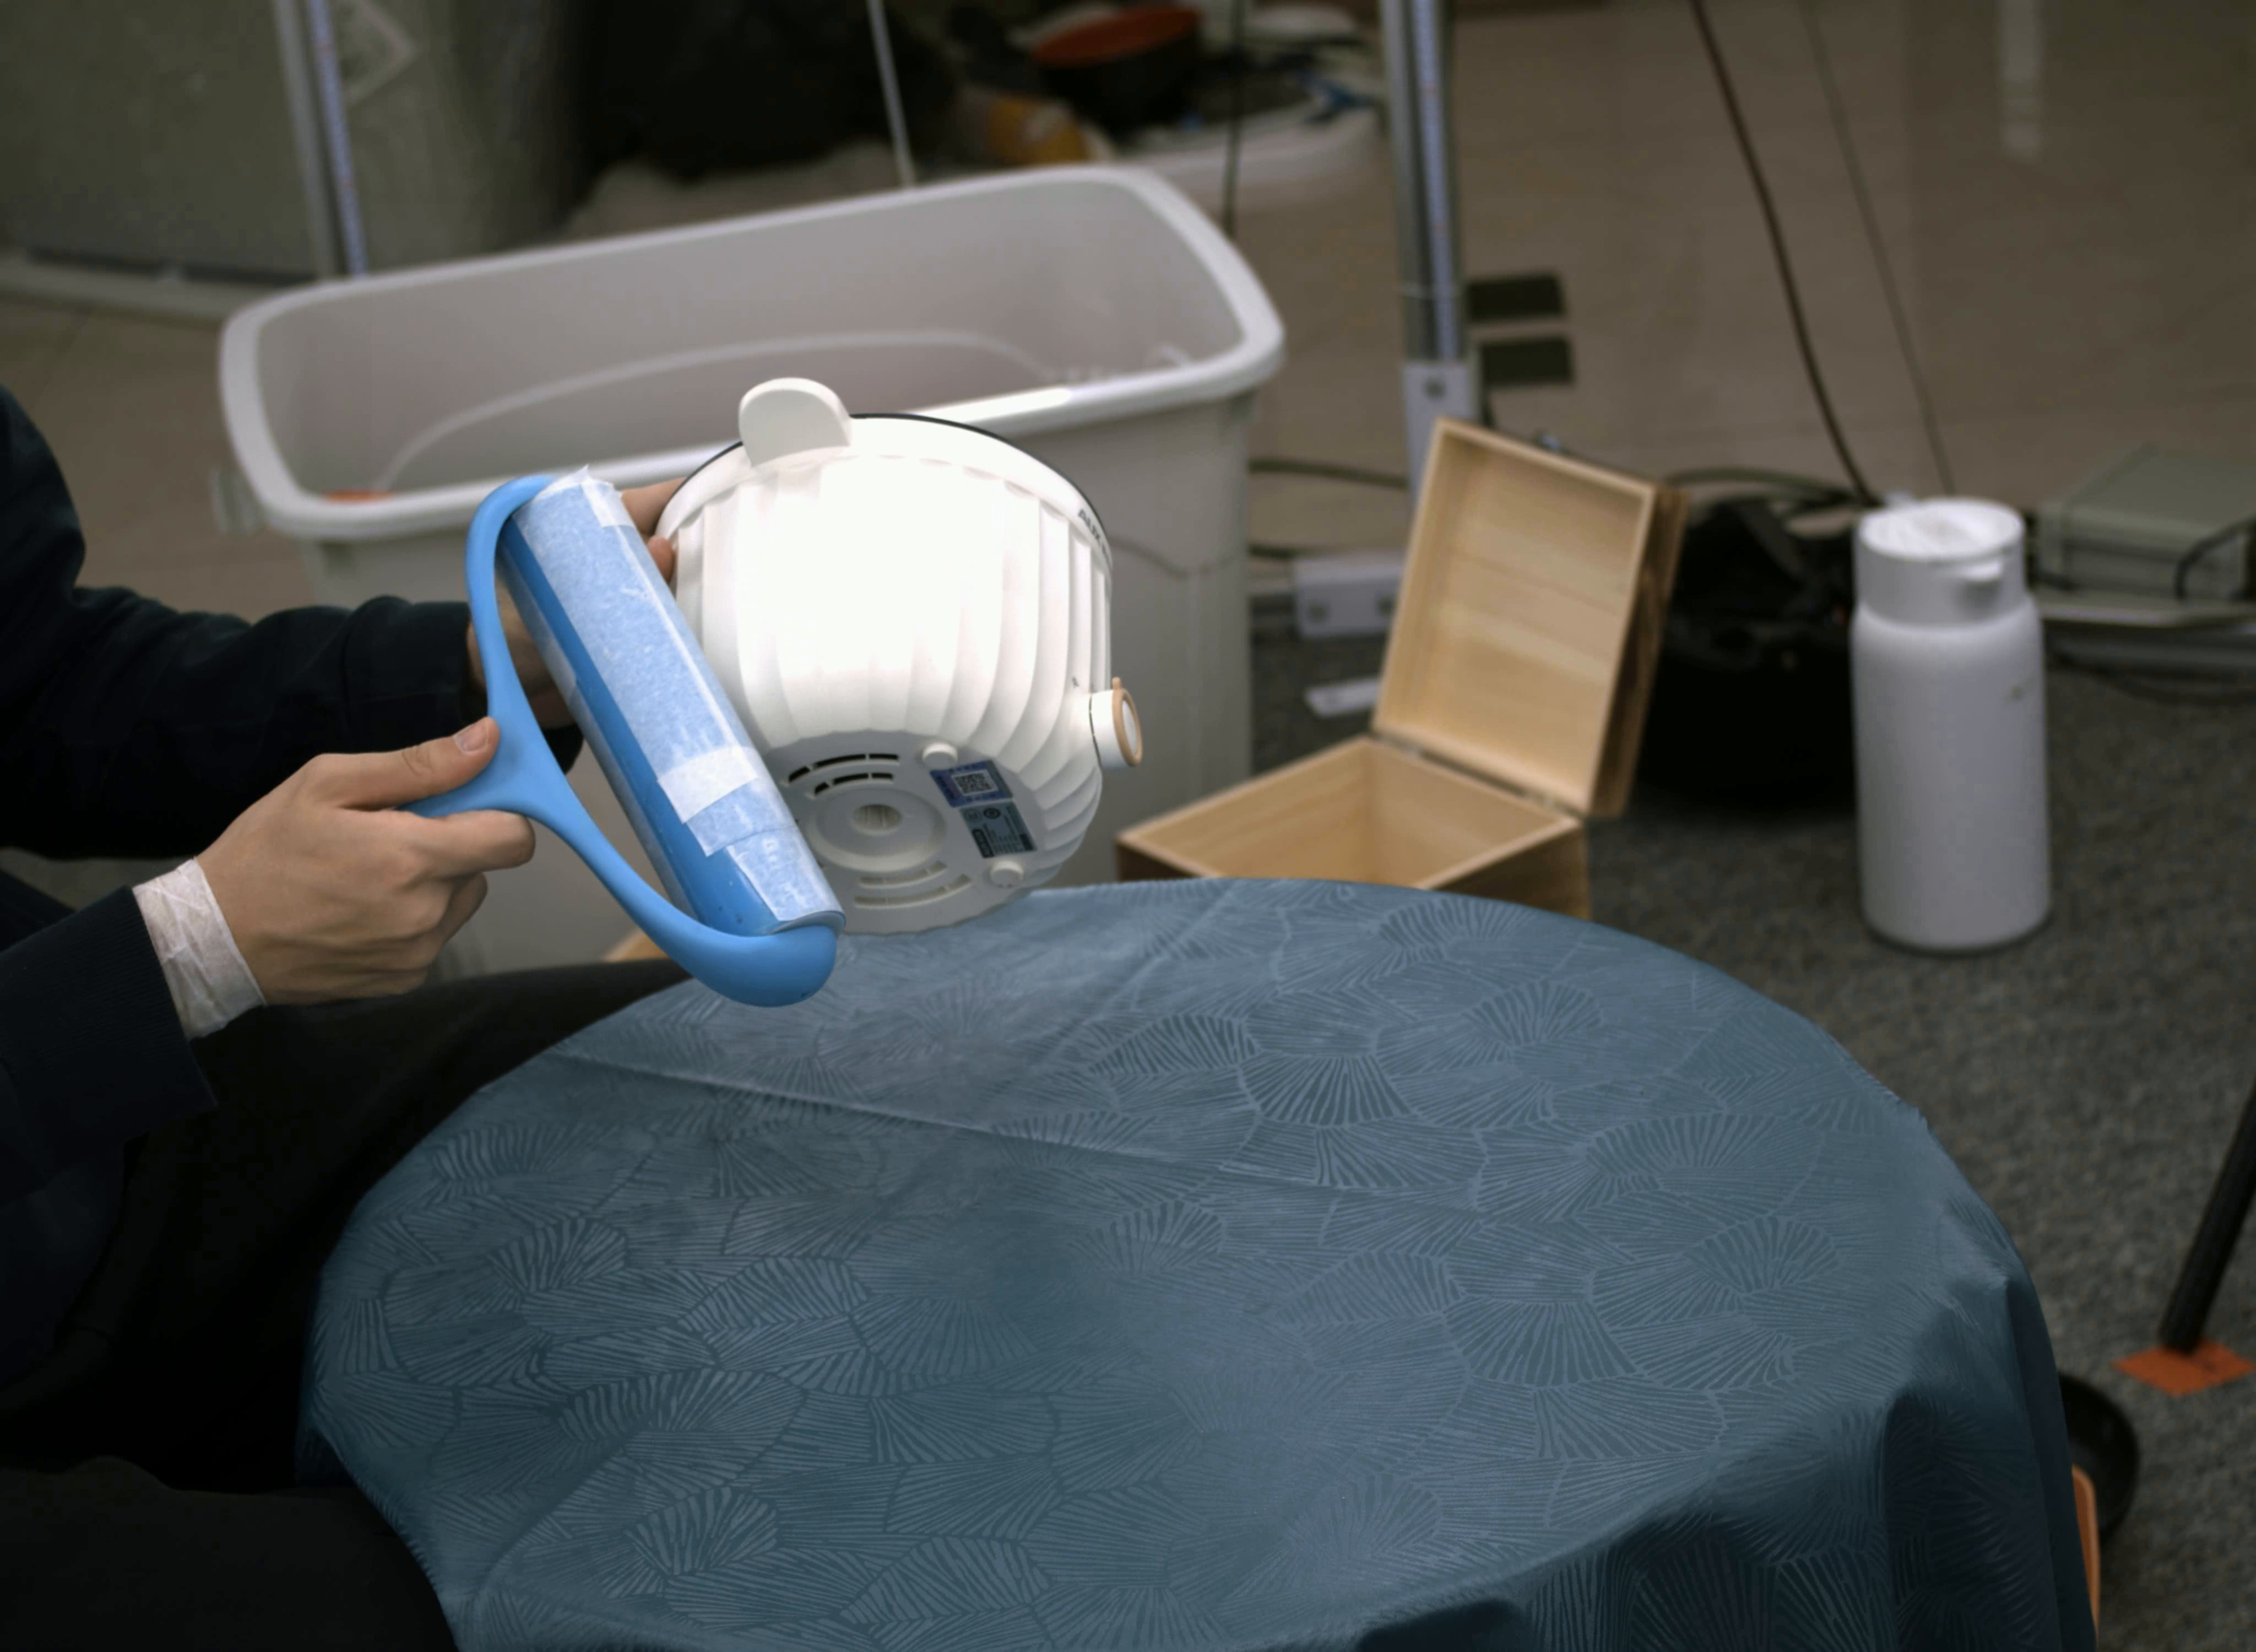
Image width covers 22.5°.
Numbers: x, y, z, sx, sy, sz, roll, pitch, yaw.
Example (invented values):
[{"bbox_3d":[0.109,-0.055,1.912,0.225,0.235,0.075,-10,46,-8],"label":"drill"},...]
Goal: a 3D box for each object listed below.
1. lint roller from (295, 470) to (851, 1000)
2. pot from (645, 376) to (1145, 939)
[{"bbox_3d":[-0.220,-0.009,2.059,0.179,0.069,0.227,-28,75,-14],"label":"lint roller"},{"bbox_3d":[-0.090,-0.049,2.168,0.190,0.244,0.140,-13,53,11],"label":"pot"}]
